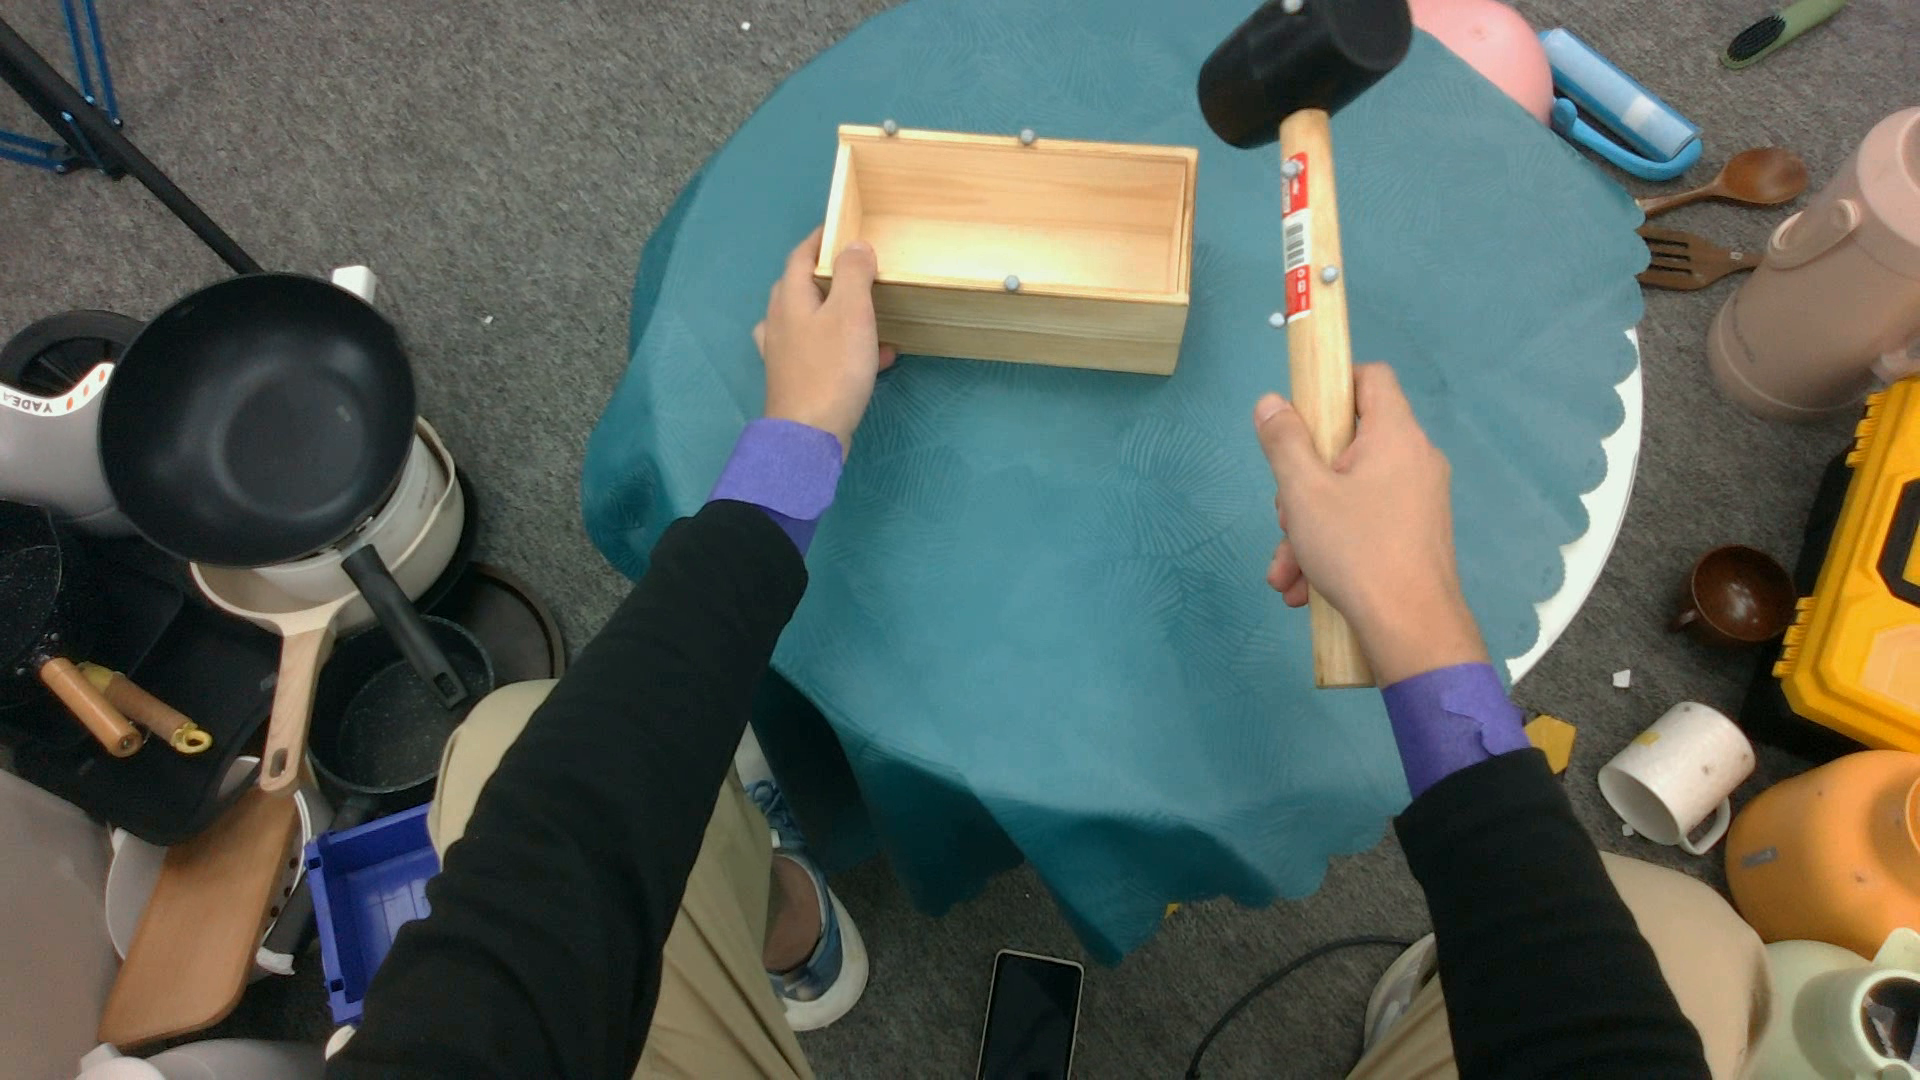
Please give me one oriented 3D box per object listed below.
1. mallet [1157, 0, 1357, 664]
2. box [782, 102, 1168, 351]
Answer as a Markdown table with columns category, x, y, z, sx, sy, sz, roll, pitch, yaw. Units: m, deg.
| category | x | y | z | sx | sy | sz | roll | pitch | yaw |
| --- | --- | --- | --- | --- | --- | --- | --- | --- | --- |
| mallet | 0.149 | -0.110 | 0.664 | 0.064 | 0.101 | 0.339 | 1 | 82 | -20 |
| box | 0.011 | -0.185 | 0.817 | 0.211 | 0.080 | 0.108 | 5 | 69 | 3 |
